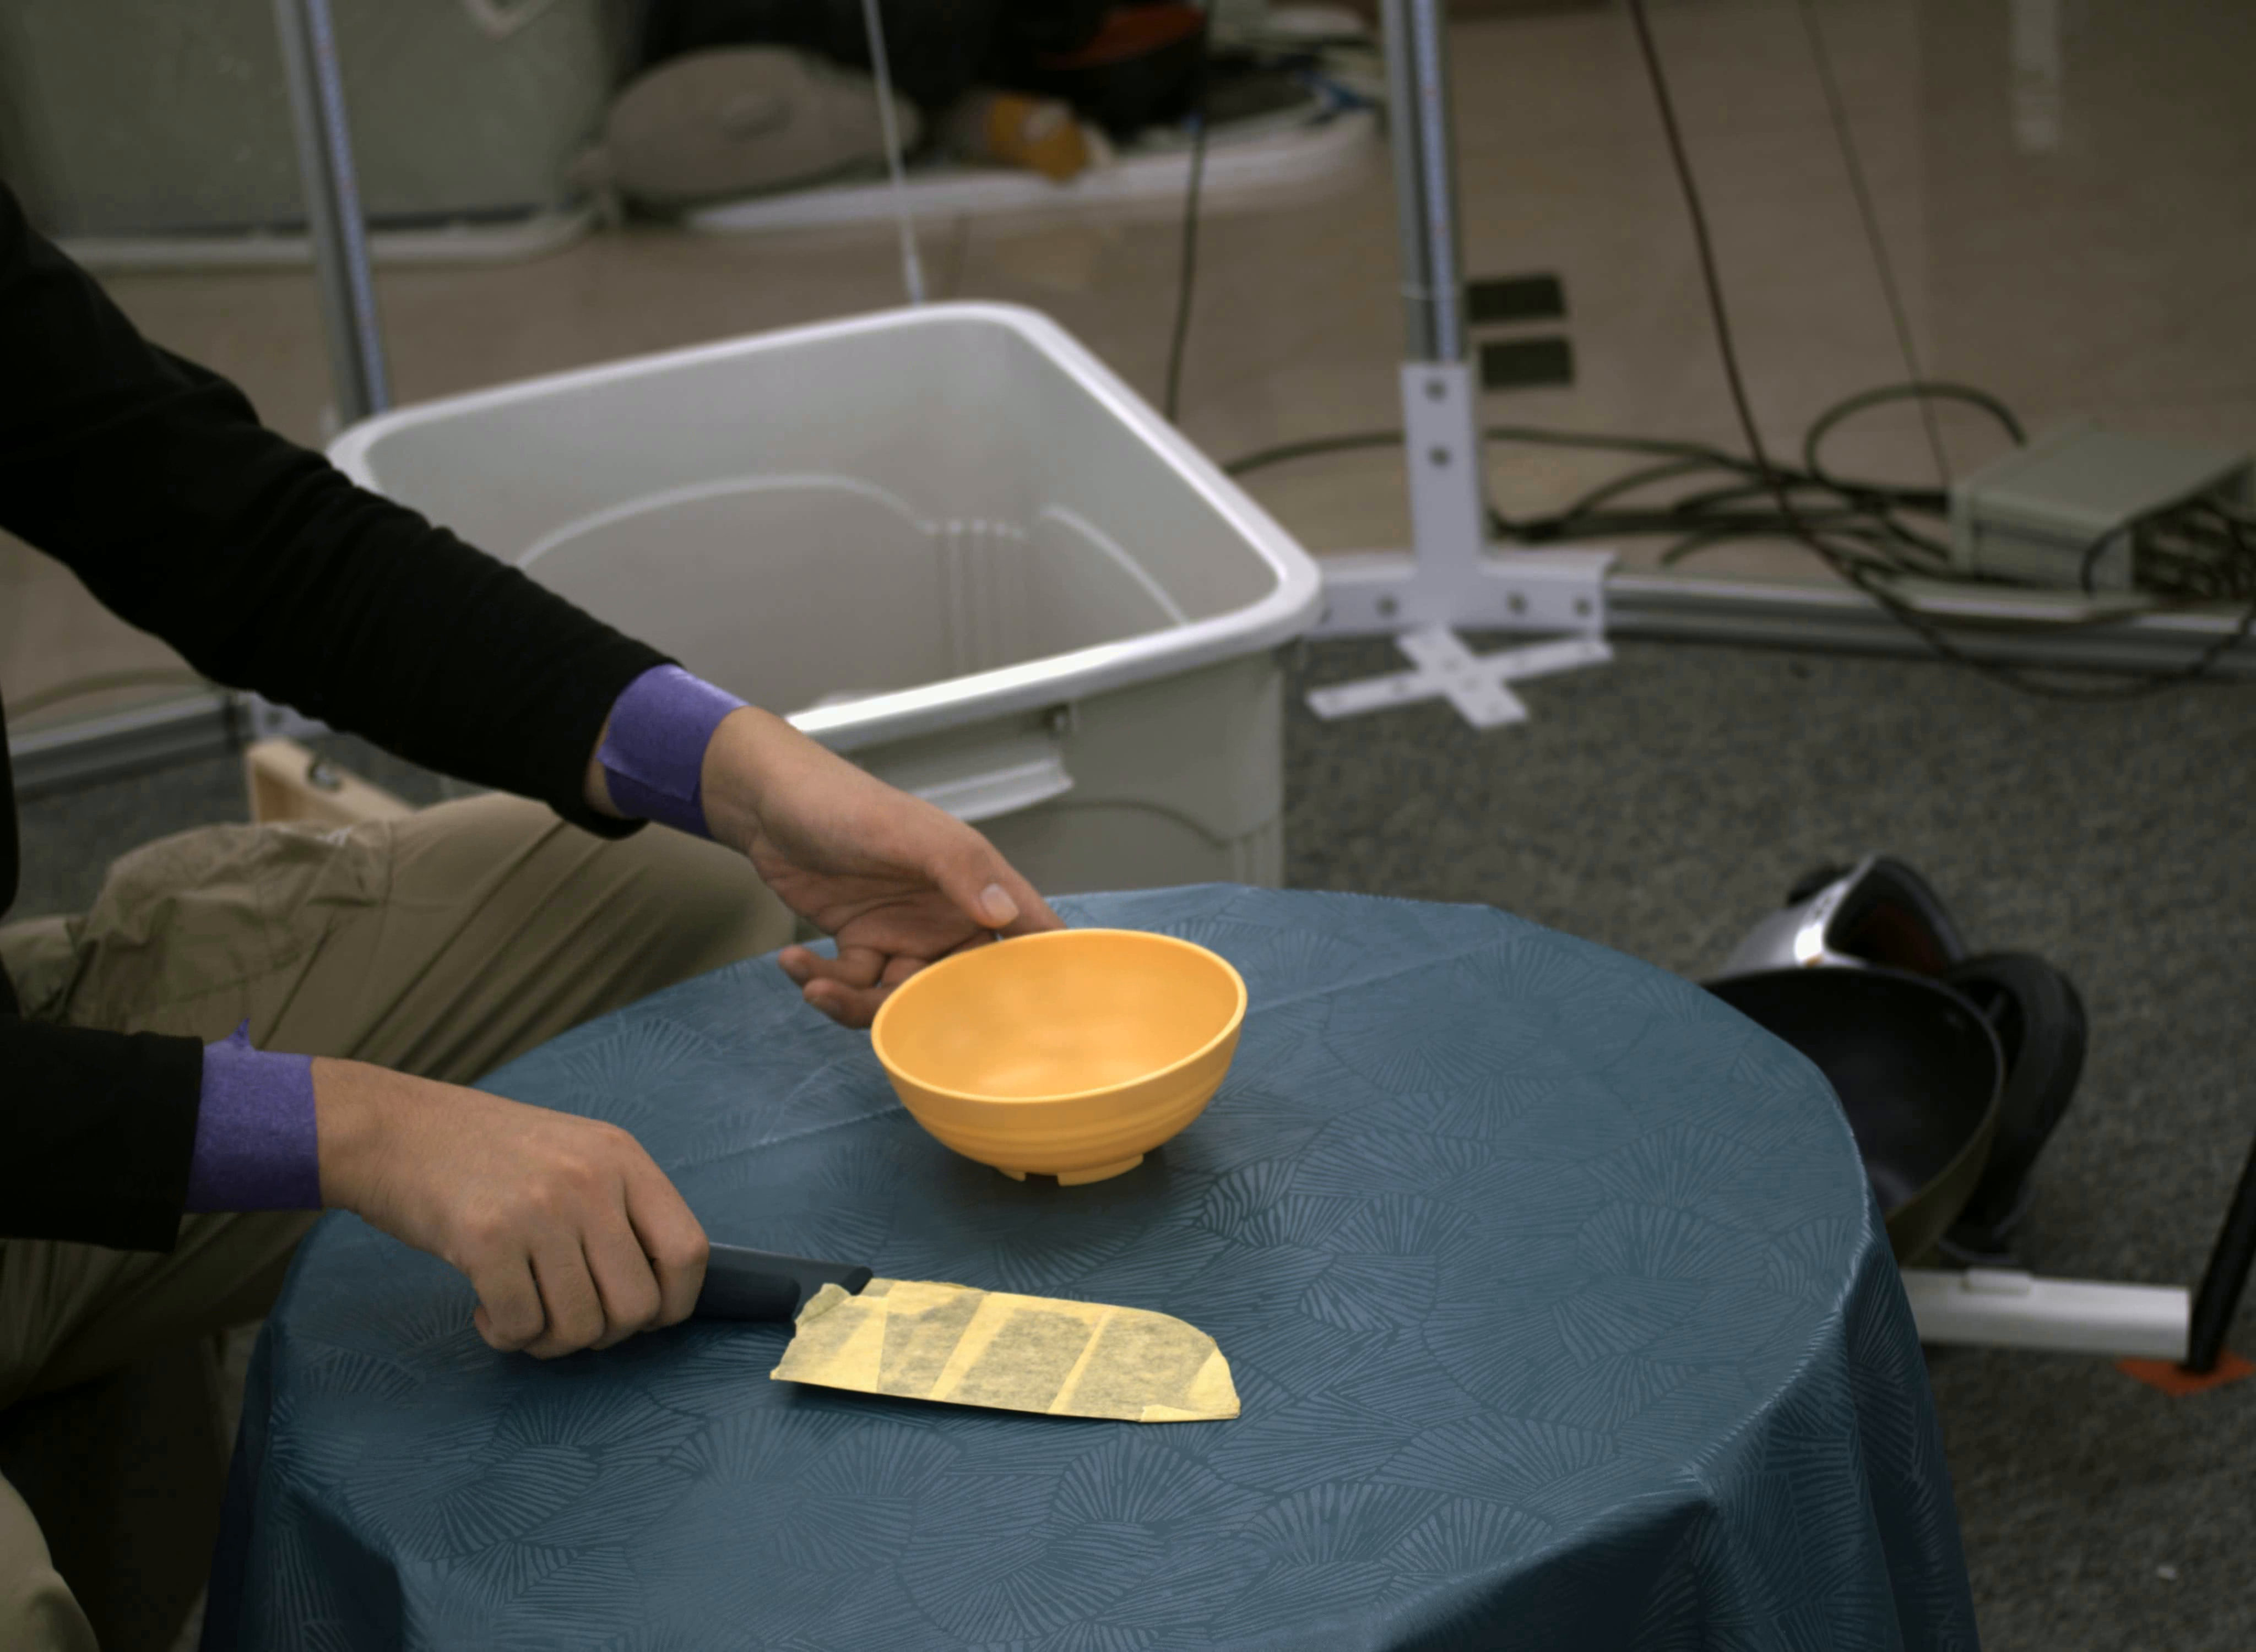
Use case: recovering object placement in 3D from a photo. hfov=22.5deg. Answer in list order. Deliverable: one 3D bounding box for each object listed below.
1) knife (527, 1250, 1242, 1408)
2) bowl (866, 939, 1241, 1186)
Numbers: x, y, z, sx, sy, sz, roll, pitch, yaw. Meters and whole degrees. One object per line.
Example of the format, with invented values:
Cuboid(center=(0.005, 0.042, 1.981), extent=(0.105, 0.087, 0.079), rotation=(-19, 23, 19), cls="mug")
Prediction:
Cuboid(center=(-0.094, 0.184, 2.059), extent=(0.288, 0.027, 0.080), rotation=(5, 26, 21), cls="knife")
Cuboid(center=(-0.026, 0.098, 2.175), extent=(0.145, 0.061, 0.143), rotation=(-4, 23, 2), cls="bowl")
